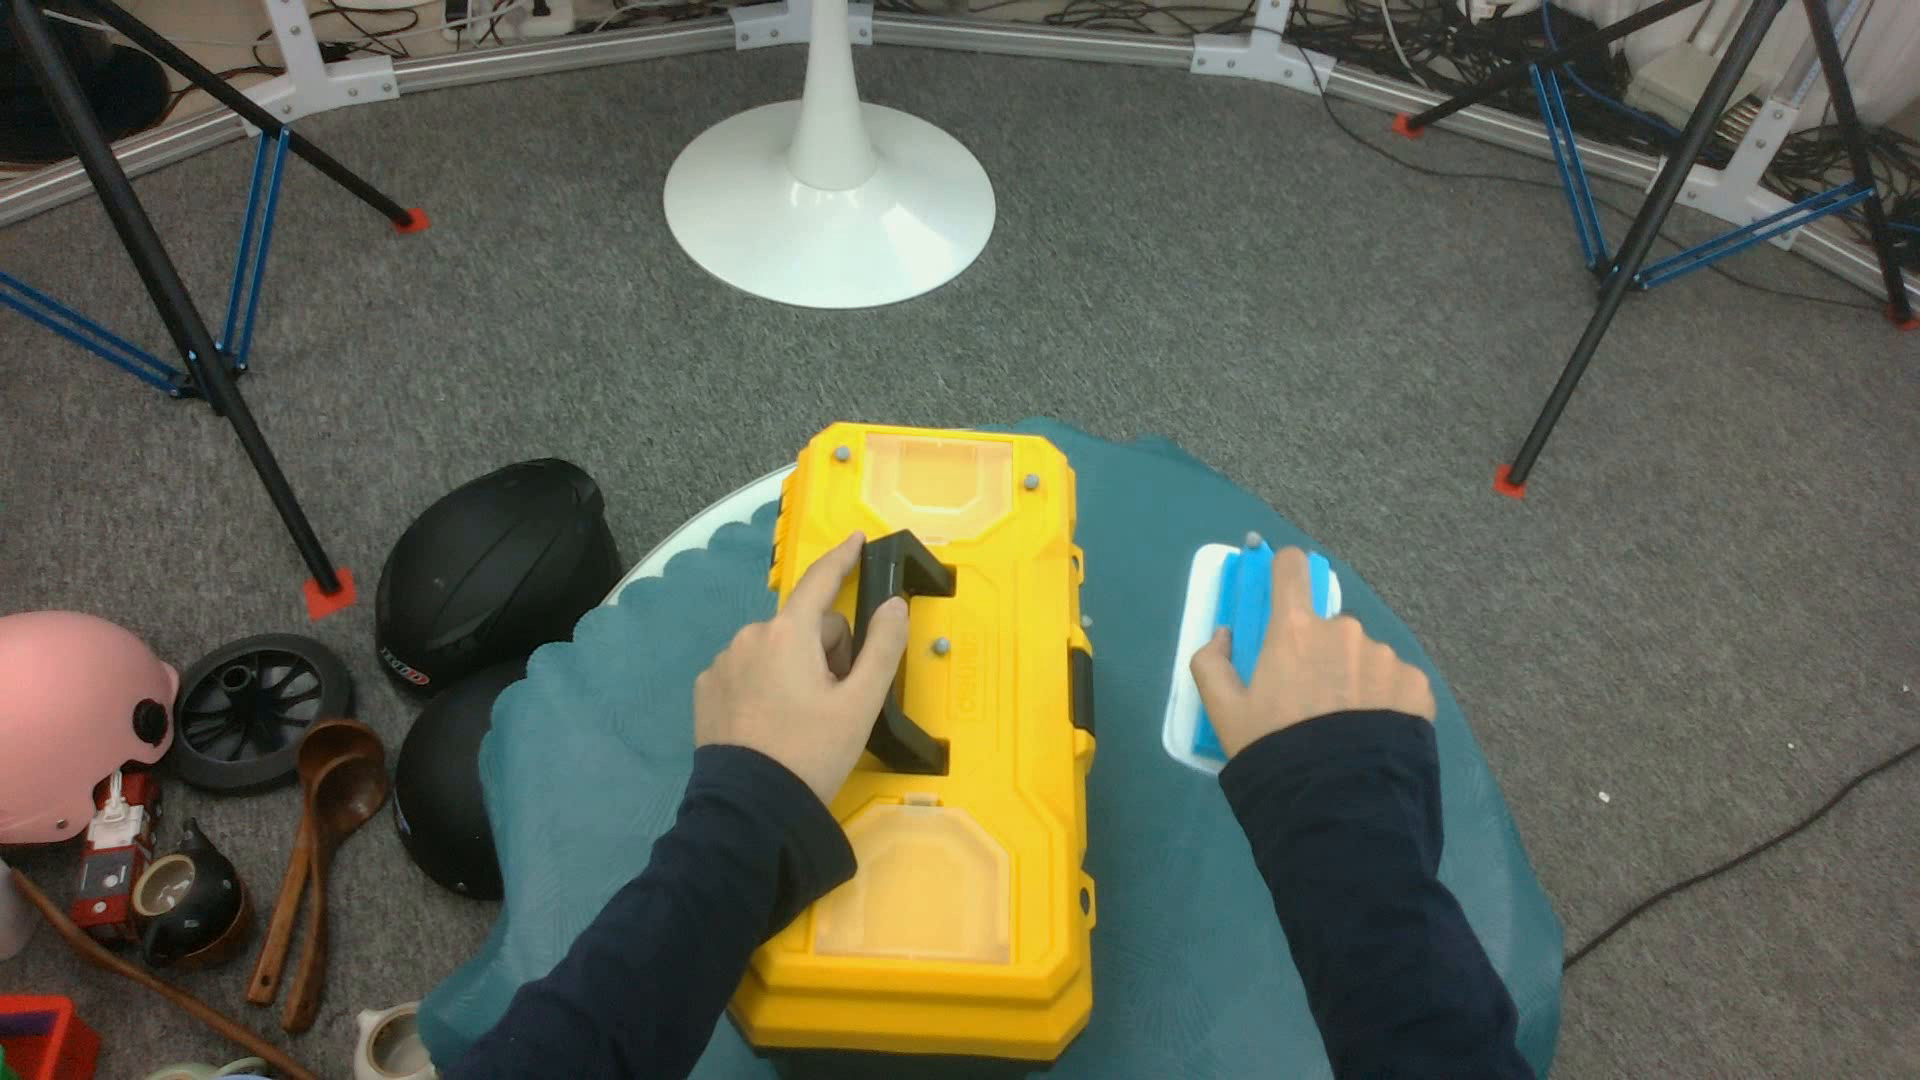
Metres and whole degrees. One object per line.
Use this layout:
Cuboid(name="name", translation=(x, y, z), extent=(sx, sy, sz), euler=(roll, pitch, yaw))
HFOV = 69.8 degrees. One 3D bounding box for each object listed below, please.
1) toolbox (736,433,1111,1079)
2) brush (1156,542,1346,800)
Cuboid(name="toolbox", translation=(-0.020, 0.116, 0.763), extent=(0.181, 0.172, 0.353), euler=(2, 51, -2))
Cuboid(name="brush", translation=(0.152, 0.058, 0.696), extent=(0.084, 0.055, 0.145), euler=(14, 51, 8))
